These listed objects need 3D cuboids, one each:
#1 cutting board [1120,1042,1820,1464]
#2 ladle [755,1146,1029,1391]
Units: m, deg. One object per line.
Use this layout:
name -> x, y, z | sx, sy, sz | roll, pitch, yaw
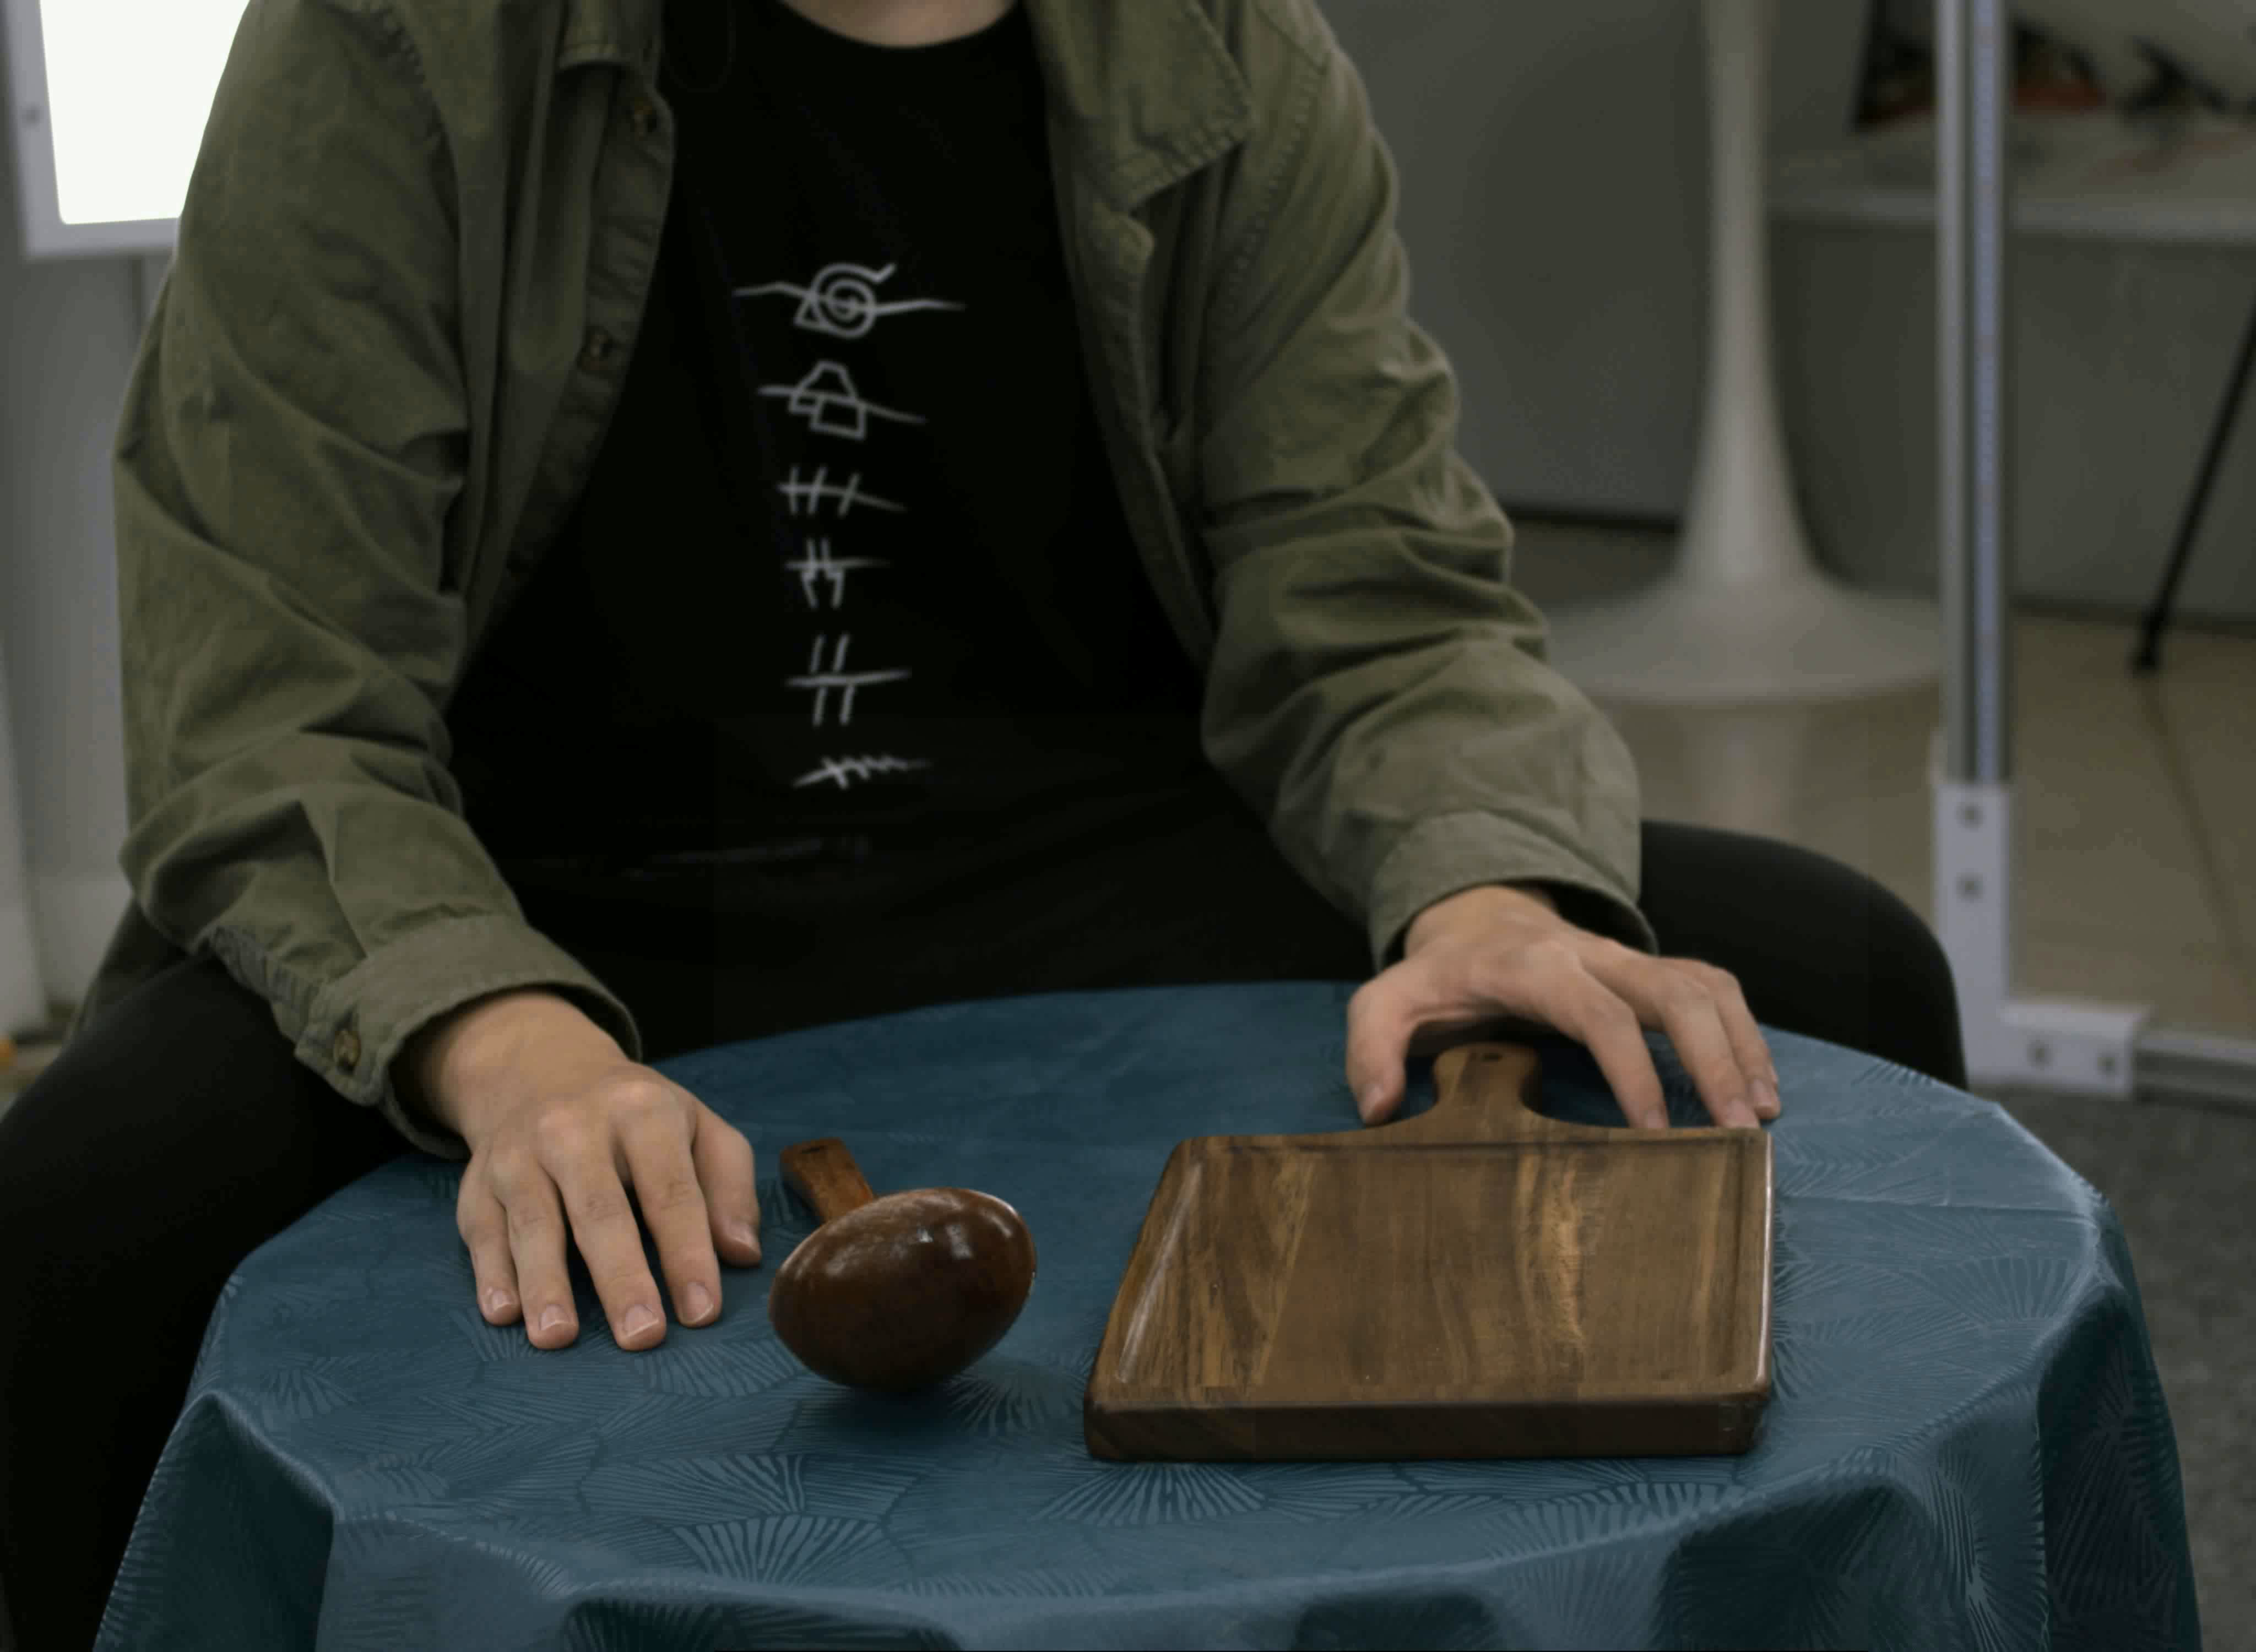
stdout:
cutting board -> 0.116, 0.126, 1.669 | 0.199, 0.023, 0.351 | -1, 14, 10
ladle -> -0.086, 0.112, 1.671 | 0.080, 0.077, 0.275 | -11, 14, -8
